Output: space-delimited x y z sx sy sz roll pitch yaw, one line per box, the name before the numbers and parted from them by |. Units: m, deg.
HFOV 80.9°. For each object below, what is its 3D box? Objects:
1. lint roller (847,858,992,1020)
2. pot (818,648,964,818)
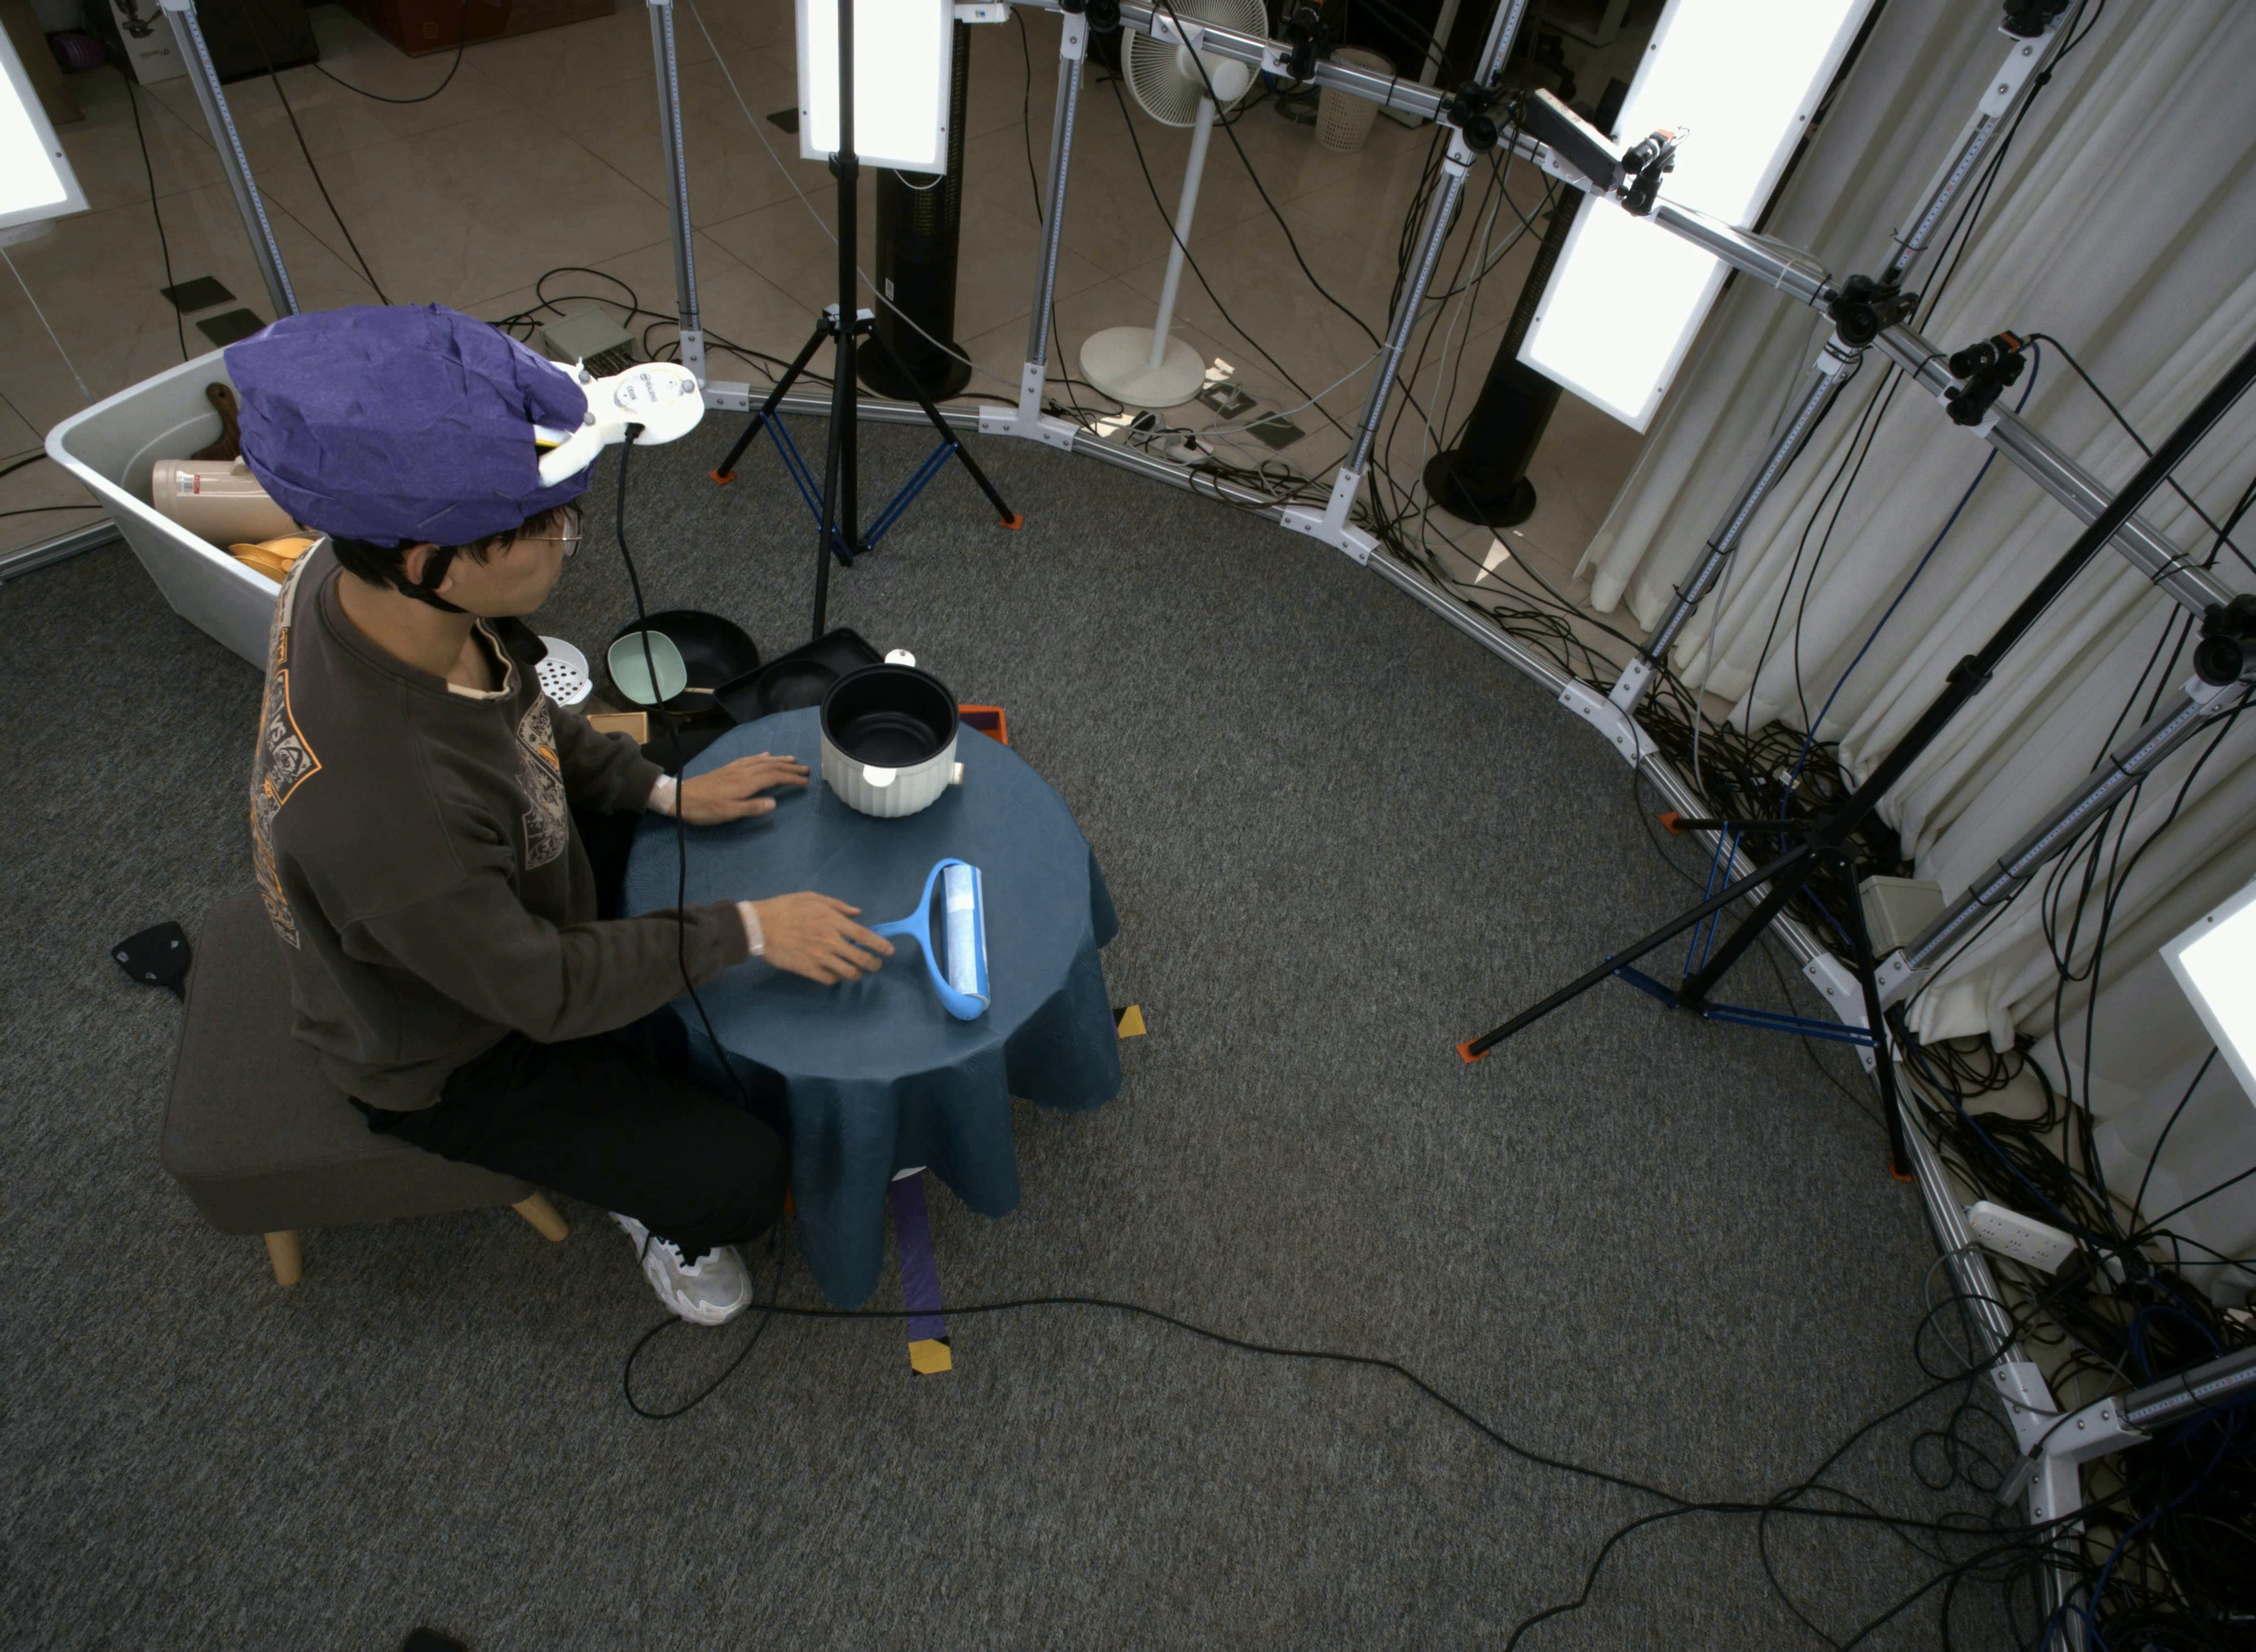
lint roller | -0.264 0.141 1.637 0.180 0.069 0.224 -2 56 -15
pot | -0.318 -0.109 1.755 0.189 0.146 0.236 4 54 -5
